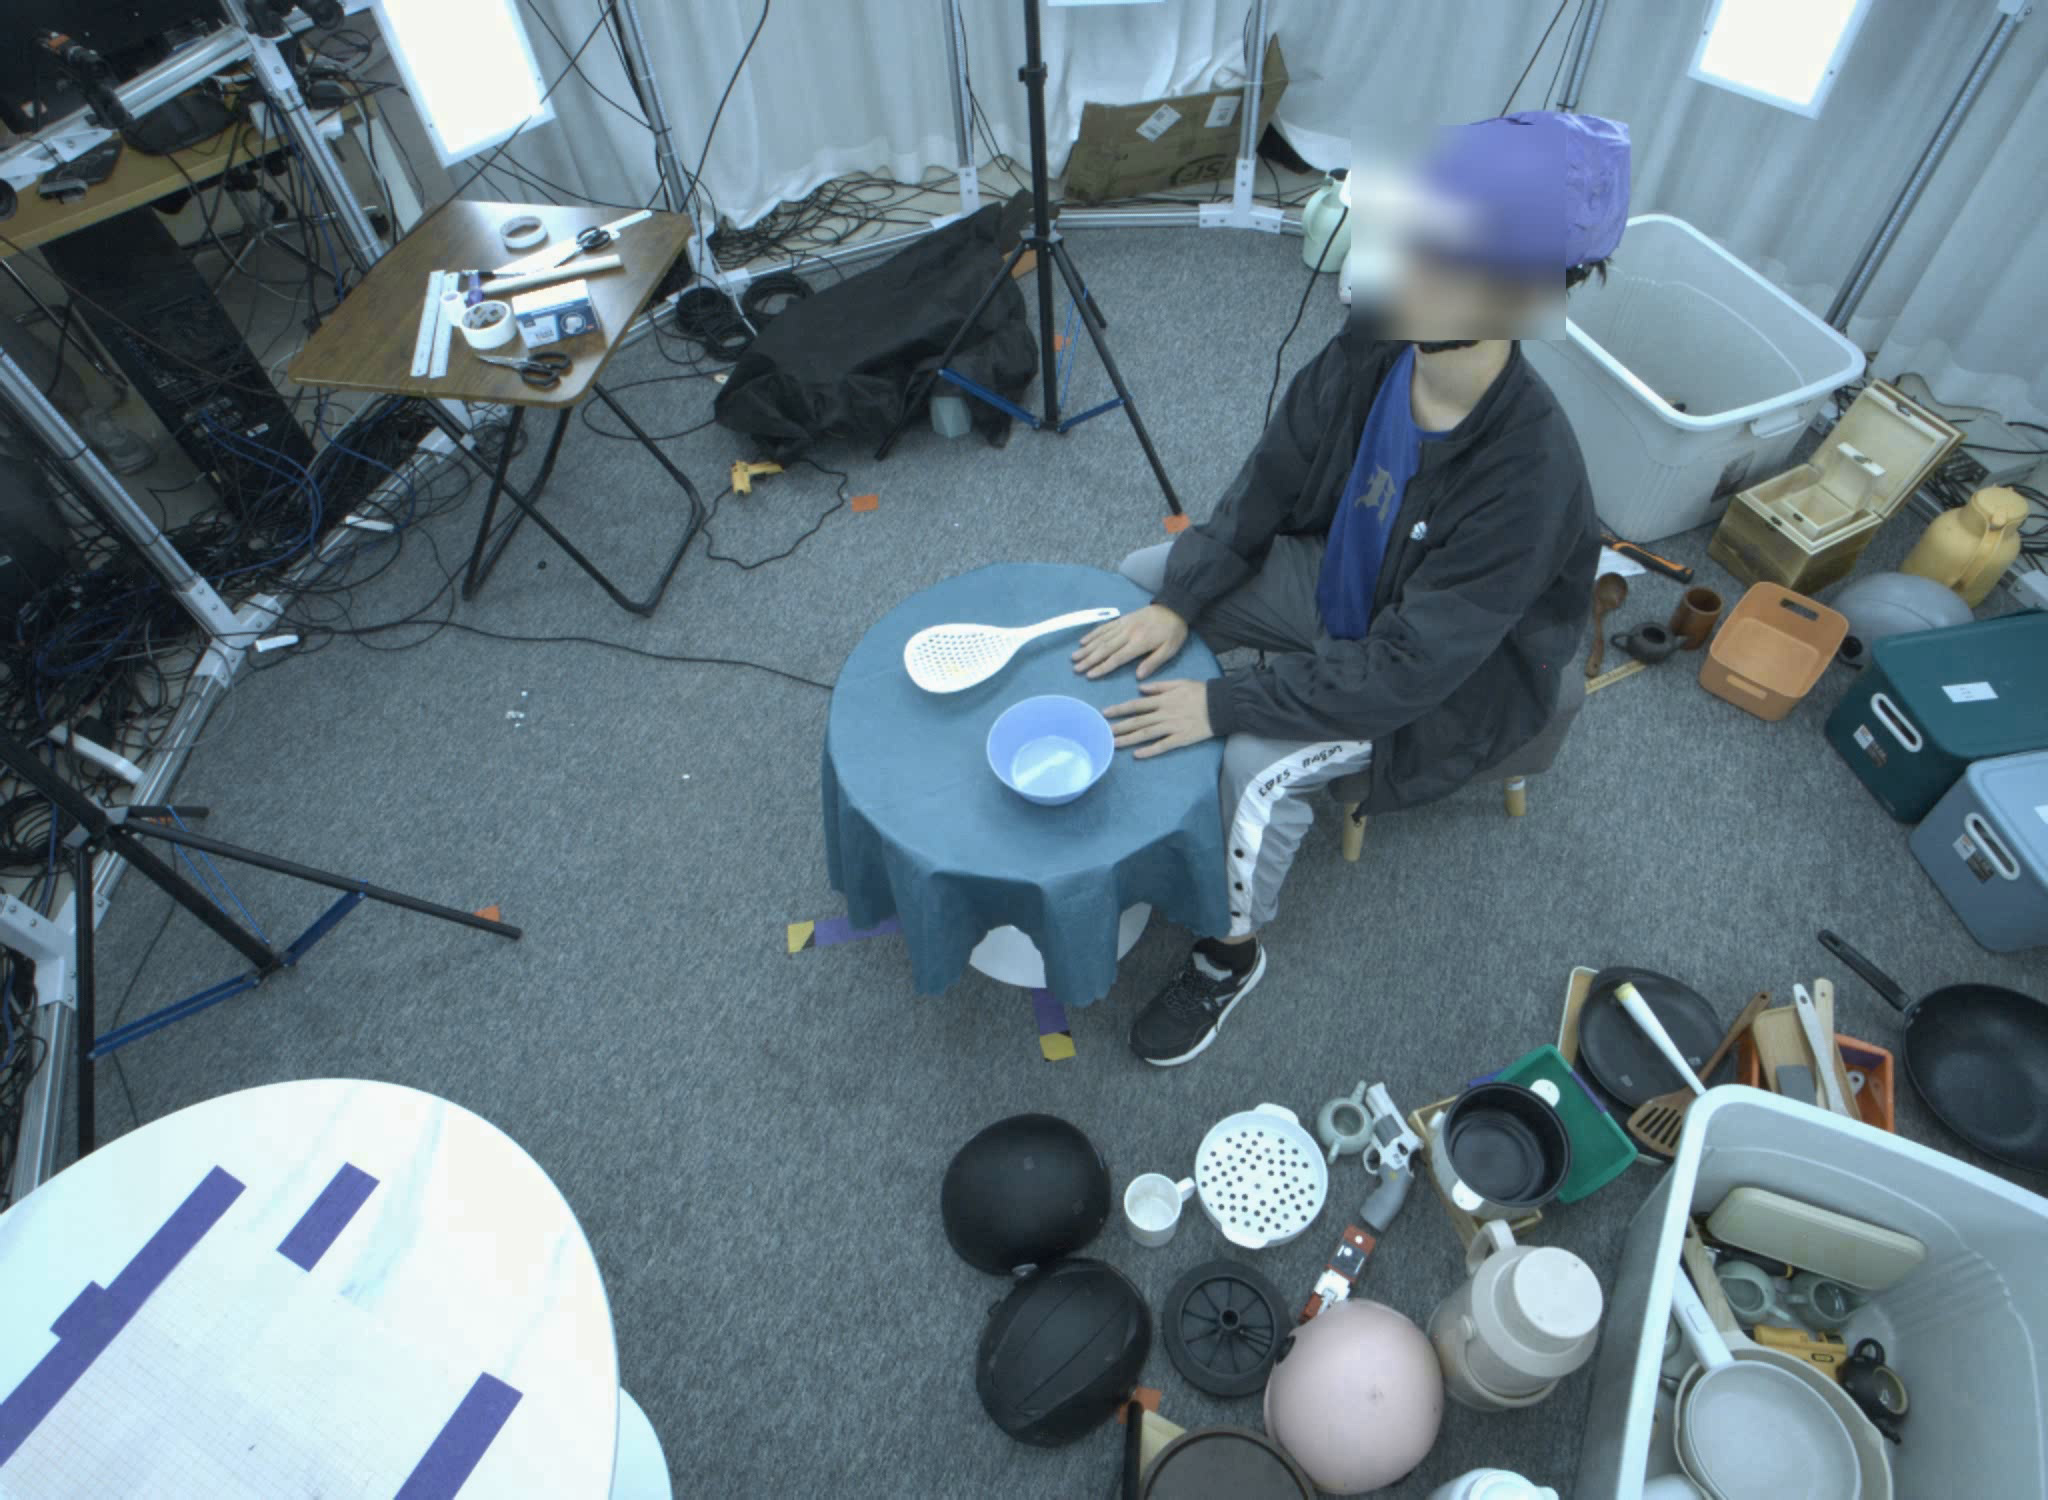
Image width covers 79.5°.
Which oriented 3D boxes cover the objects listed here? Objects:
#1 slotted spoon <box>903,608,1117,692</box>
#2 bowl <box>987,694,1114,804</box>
[{"bbox_3d":[-0.012,-0.166,1.872,0.350,0.051,0.134,-21,53,-13],"label":"slotted spoon"},{"bbox_3d":[0.038,0.010,1.726,0.176,0.071,0.174,0,55,2],"label":"bowl"}]
